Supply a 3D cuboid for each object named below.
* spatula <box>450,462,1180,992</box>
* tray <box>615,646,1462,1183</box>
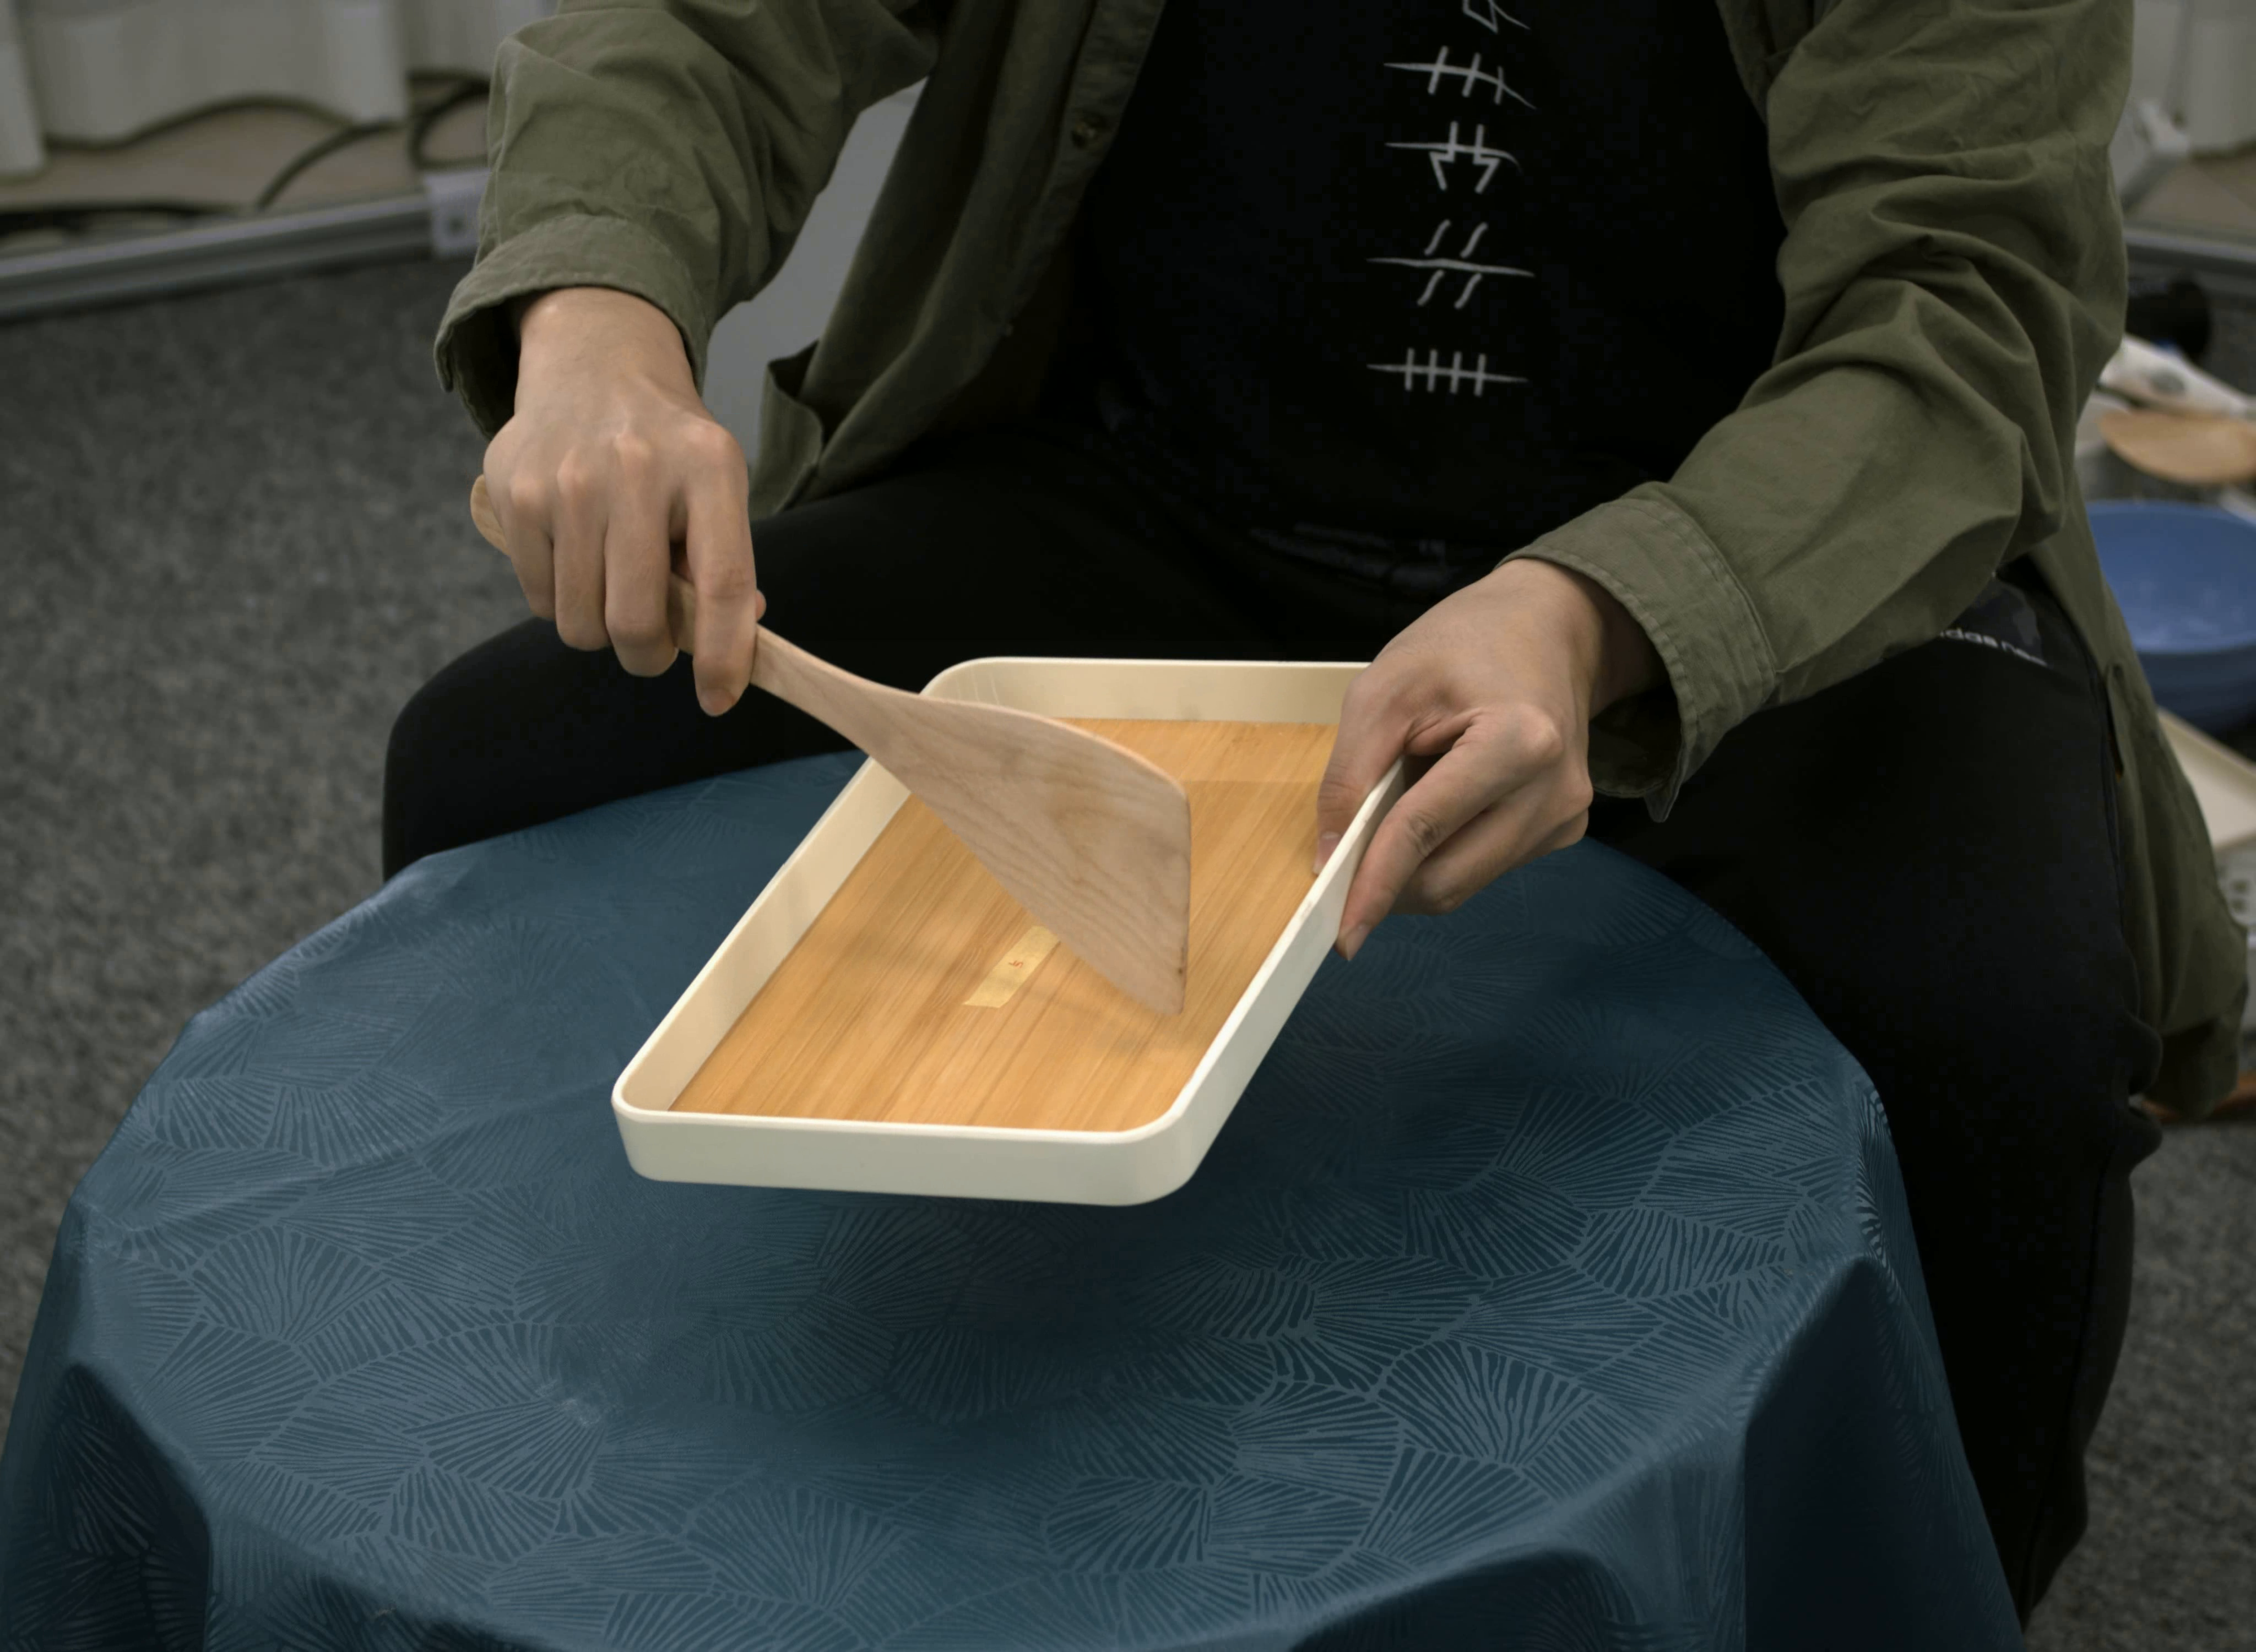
[{"bbox_3d":[-0.103,-0.047,1.798,0.327,0.079,0.017,28,32,30],"label":"spatula"},{"bbox_3d":[-0.022,0.023,1.812,0.190,0.027,0.305,2,29,22],"label":"tray"}]
